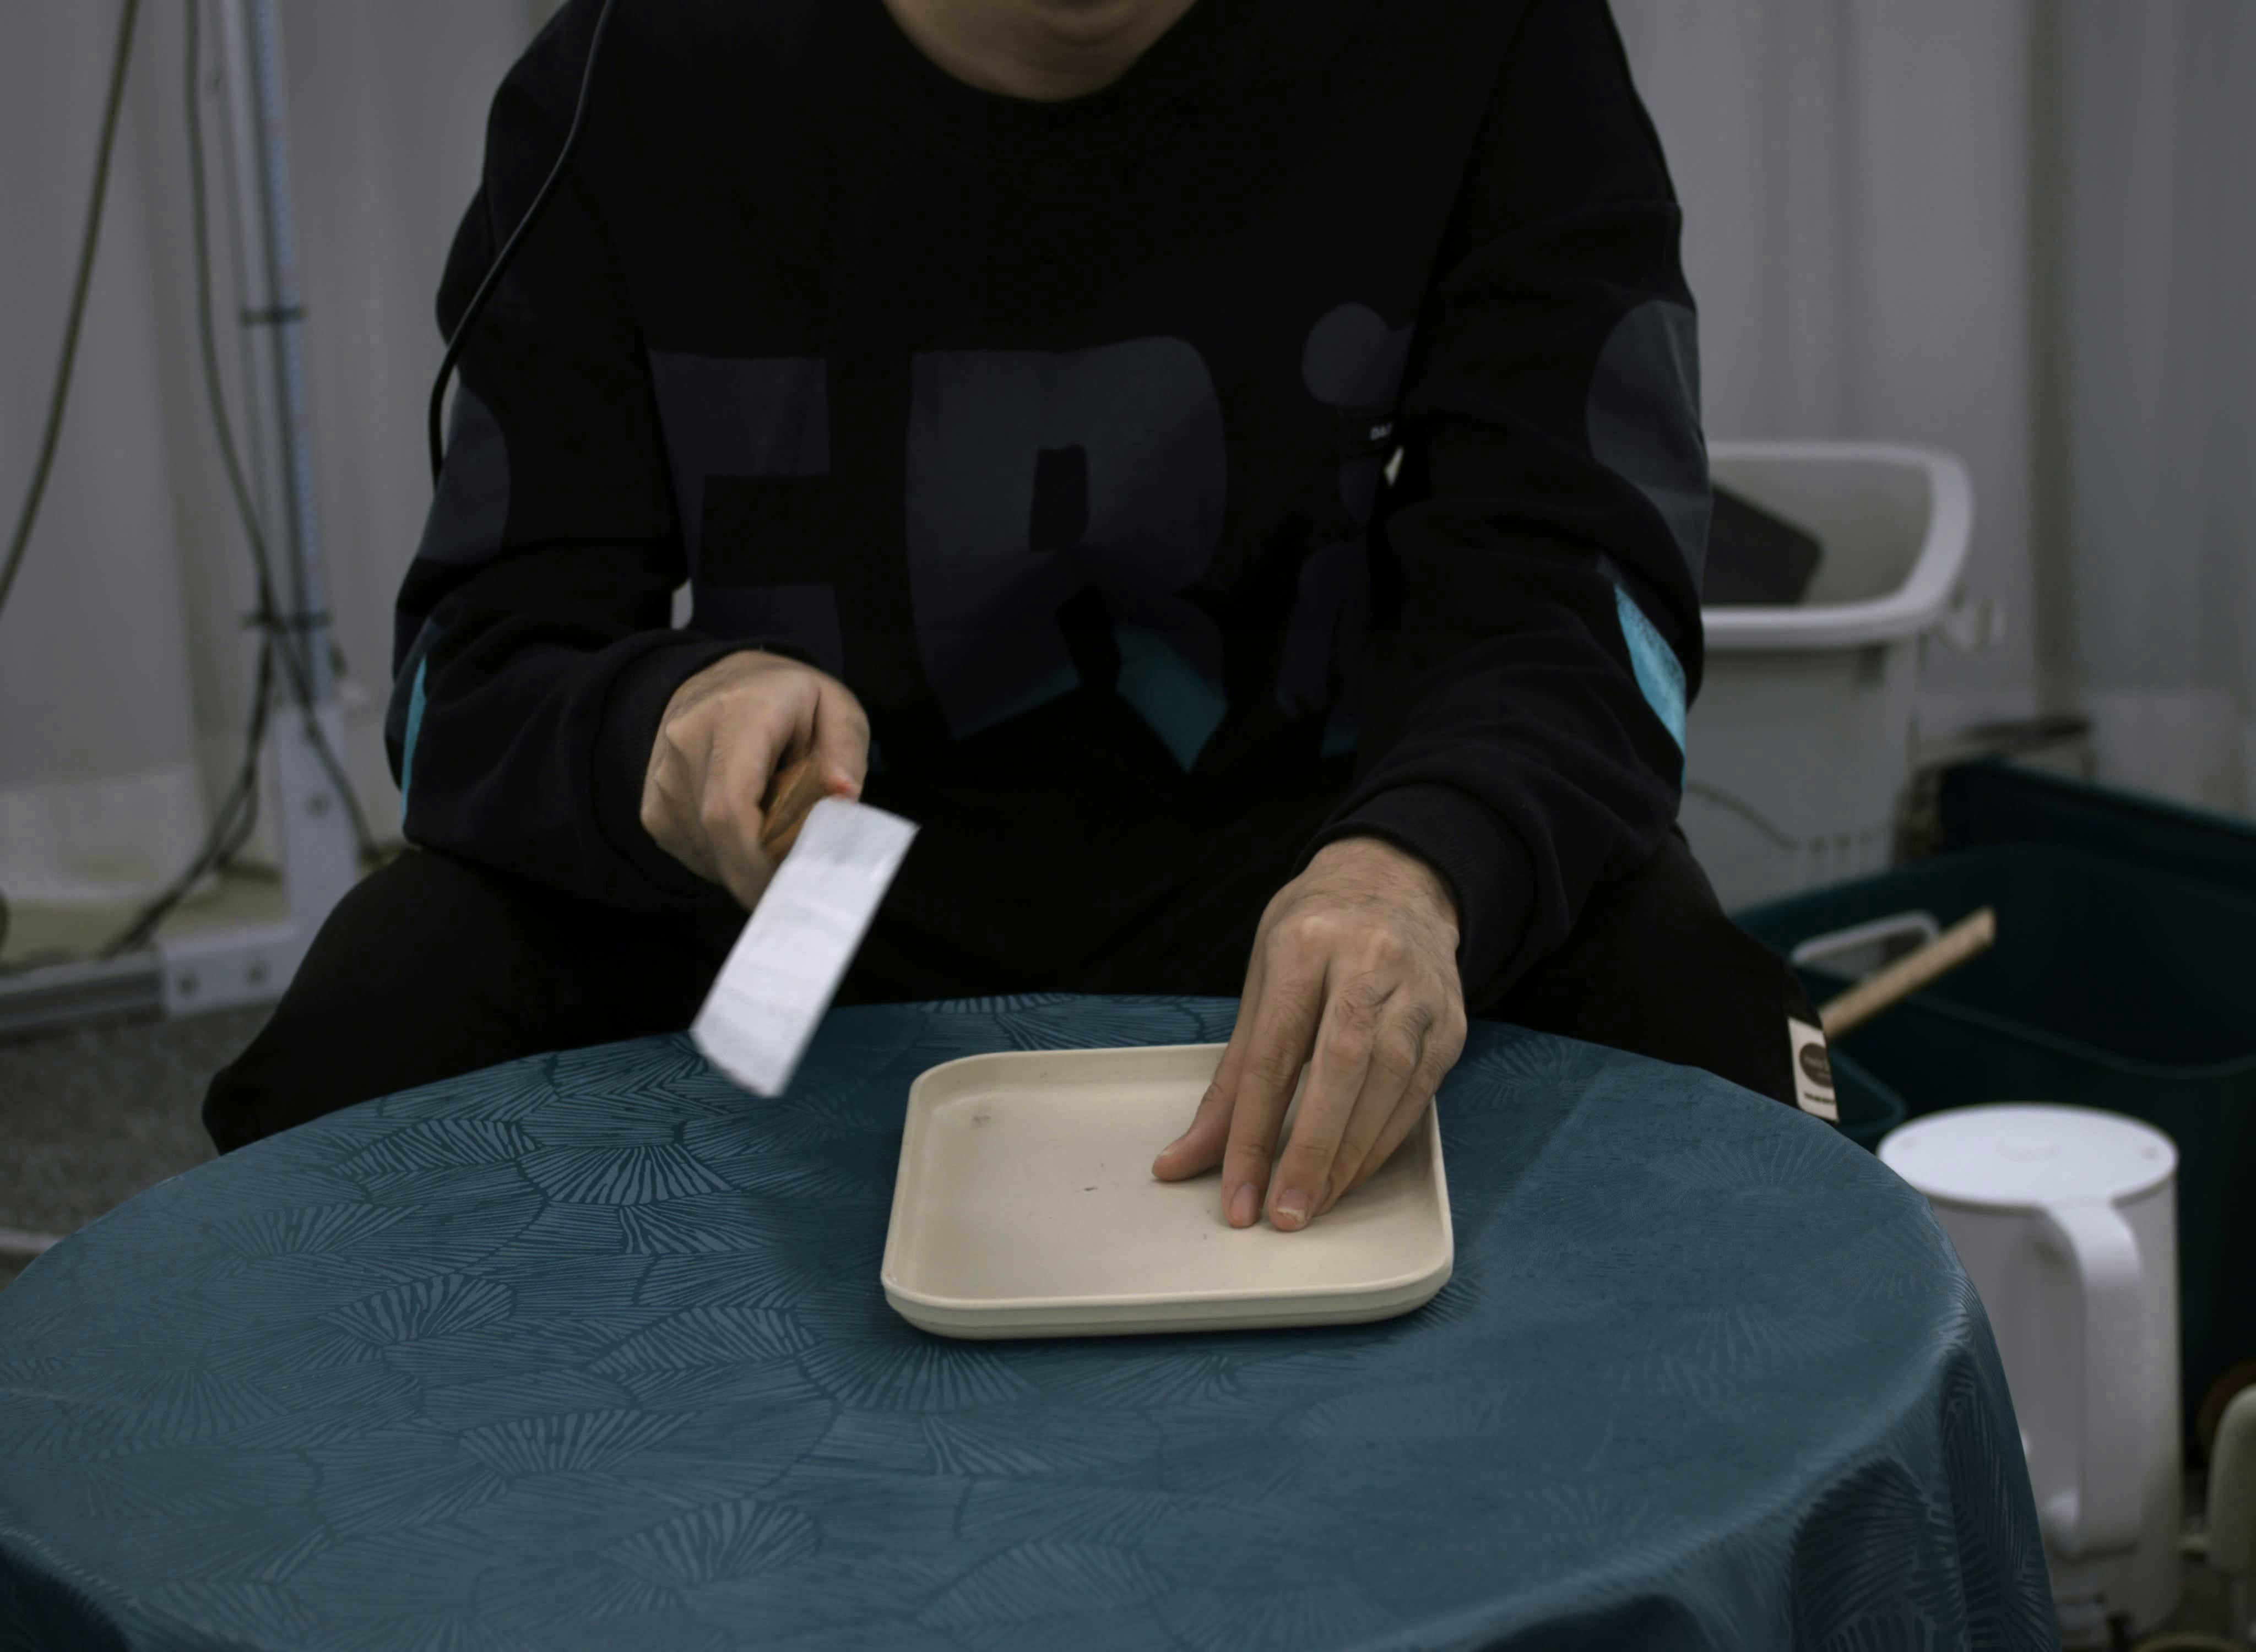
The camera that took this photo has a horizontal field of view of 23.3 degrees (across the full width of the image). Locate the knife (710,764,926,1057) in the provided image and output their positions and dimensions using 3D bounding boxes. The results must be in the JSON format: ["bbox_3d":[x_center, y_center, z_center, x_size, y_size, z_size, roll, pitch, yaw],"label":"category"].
[{"bbox_3d":[-0.106,0.026,1.713,0.021,0.093,0.306,25,-2,-12],"label":"knife"}]

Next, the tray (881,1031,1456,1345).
[{"bbox_3d":[0.014,0.111,1.689,0.171,0.017,0.241,-4,16,3],"label":"tray"}]
